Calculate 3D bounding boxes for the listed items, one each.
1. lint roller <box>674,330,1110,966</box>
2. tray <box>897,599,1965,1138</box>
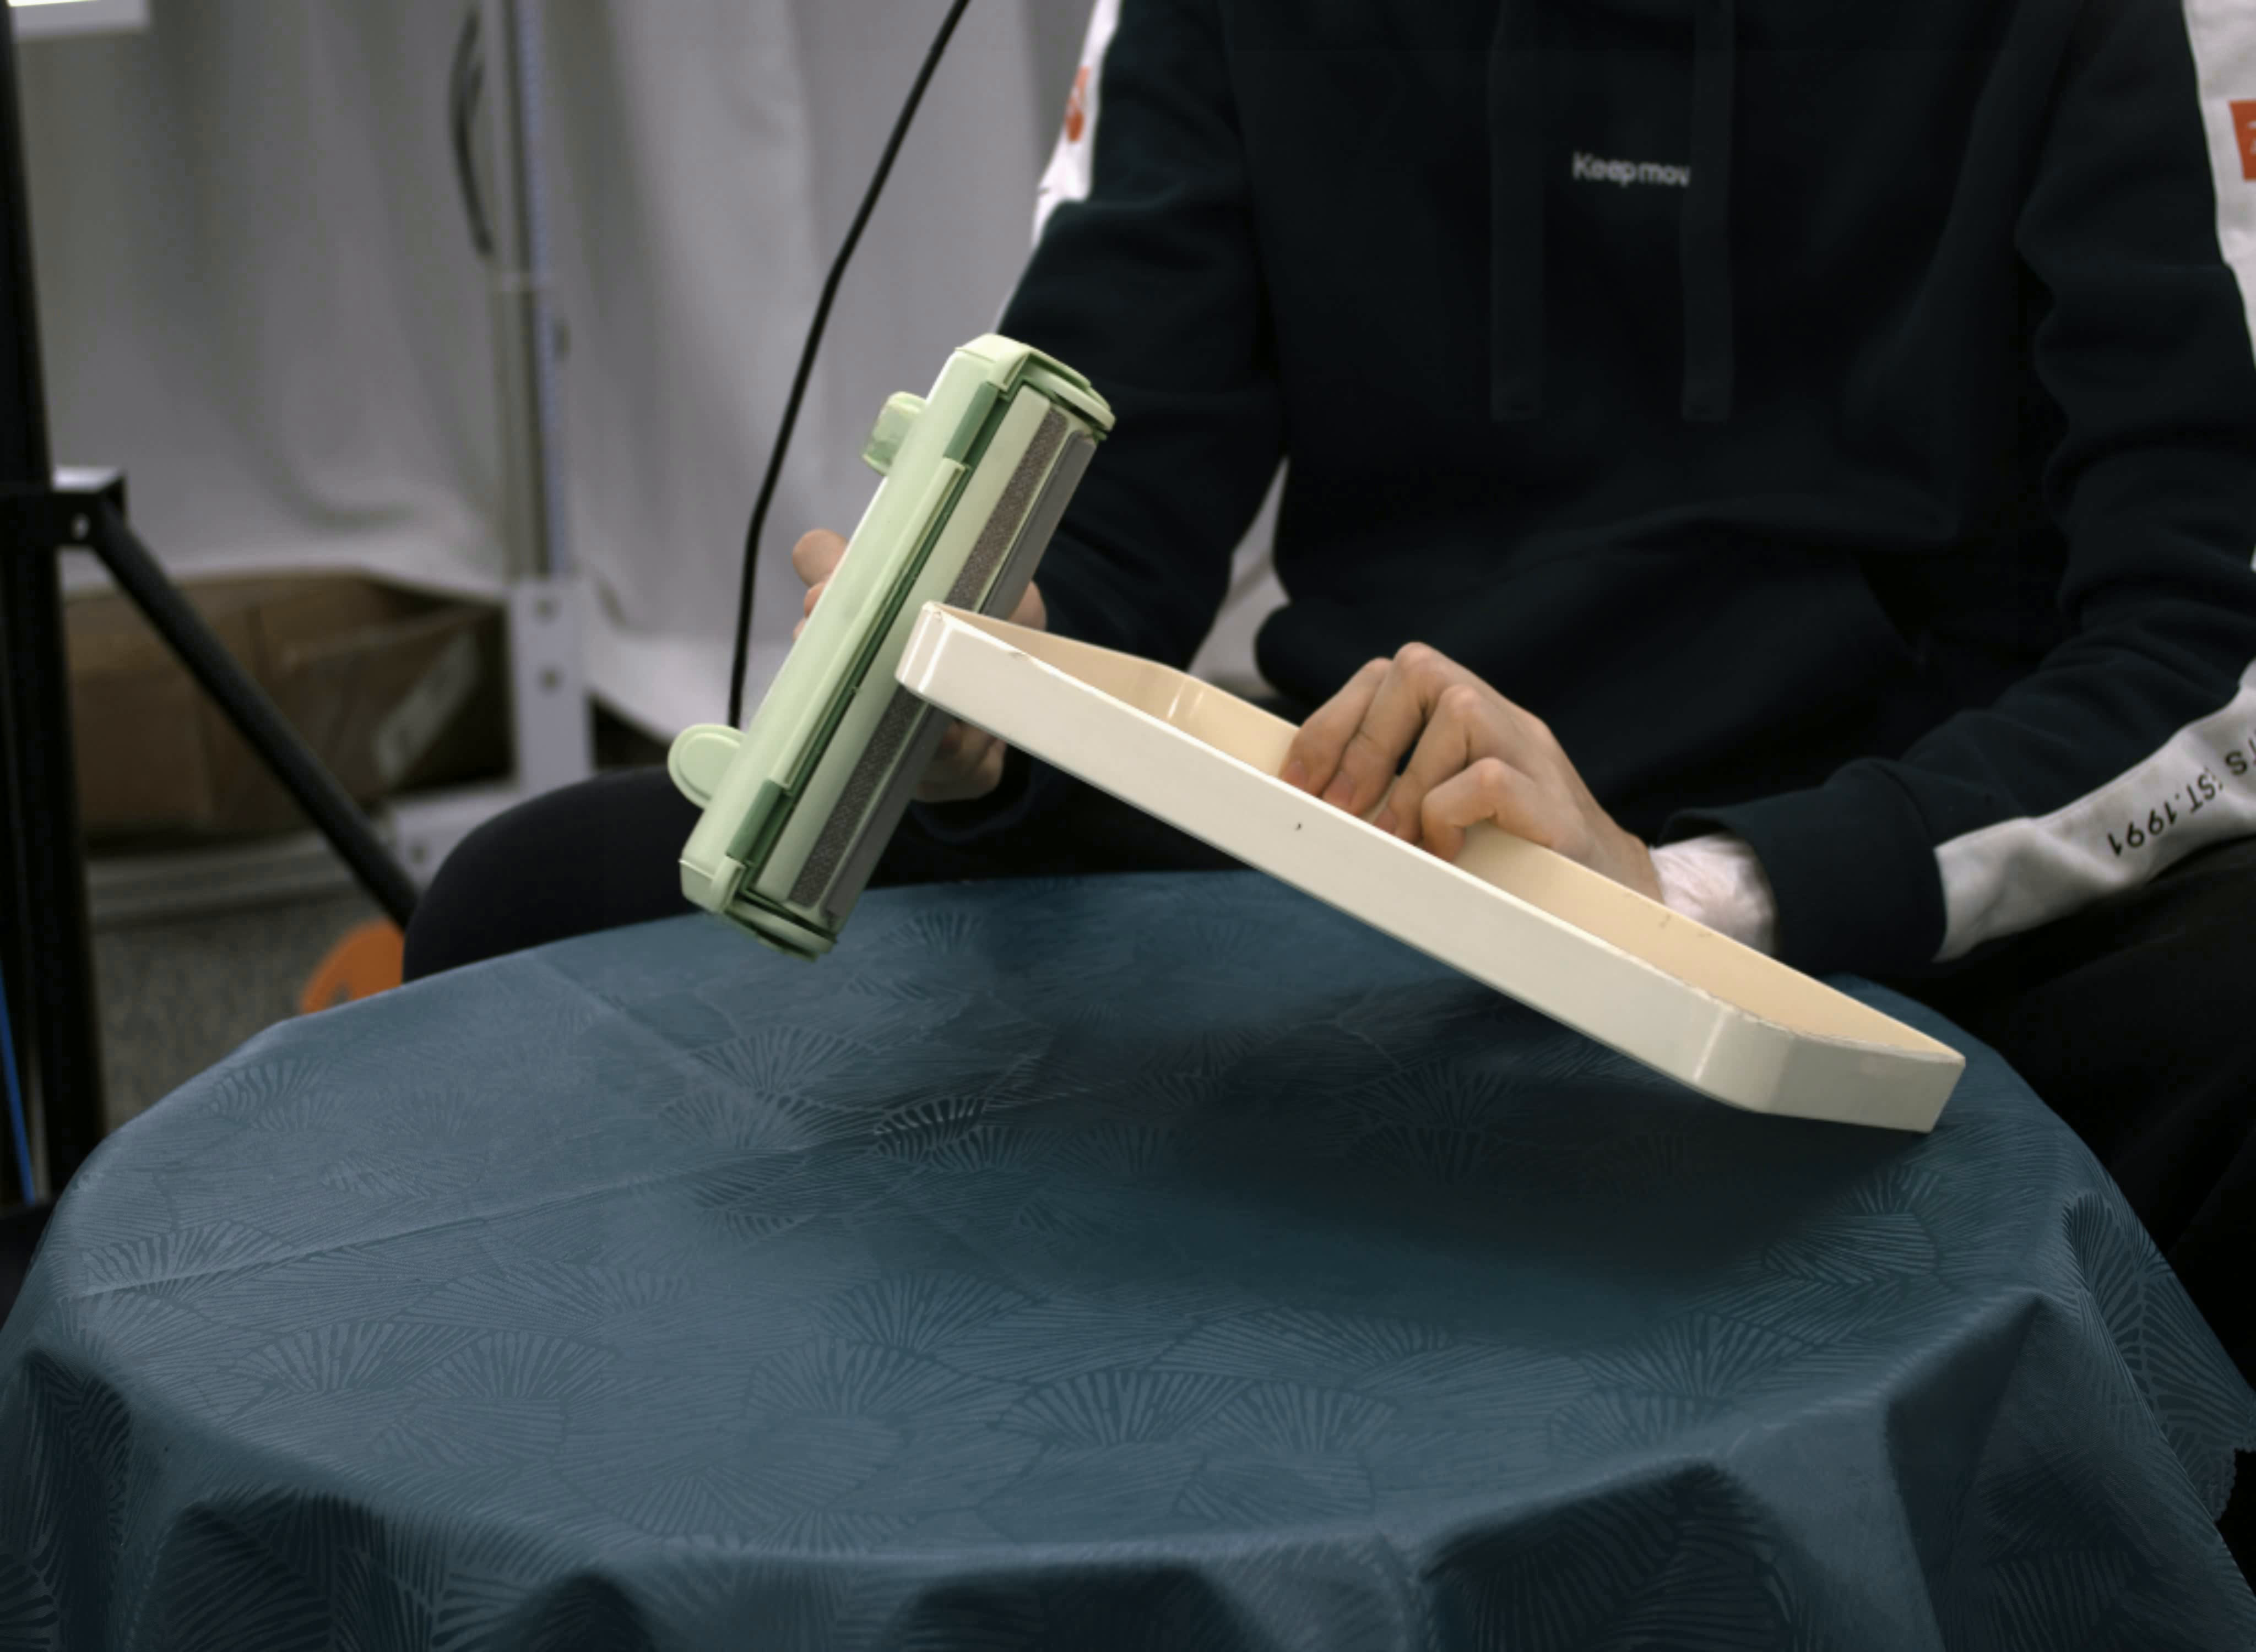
[{"bbox_3d":[-0.077,-0.055,1.674,0.082,0.199,0.183,27,-3,0],"label":"lint roller"},{"bbox_3d":[0.090,0.014,1.563,0.306,0.027,0.187,27,6,27],"label":"tray"}]
